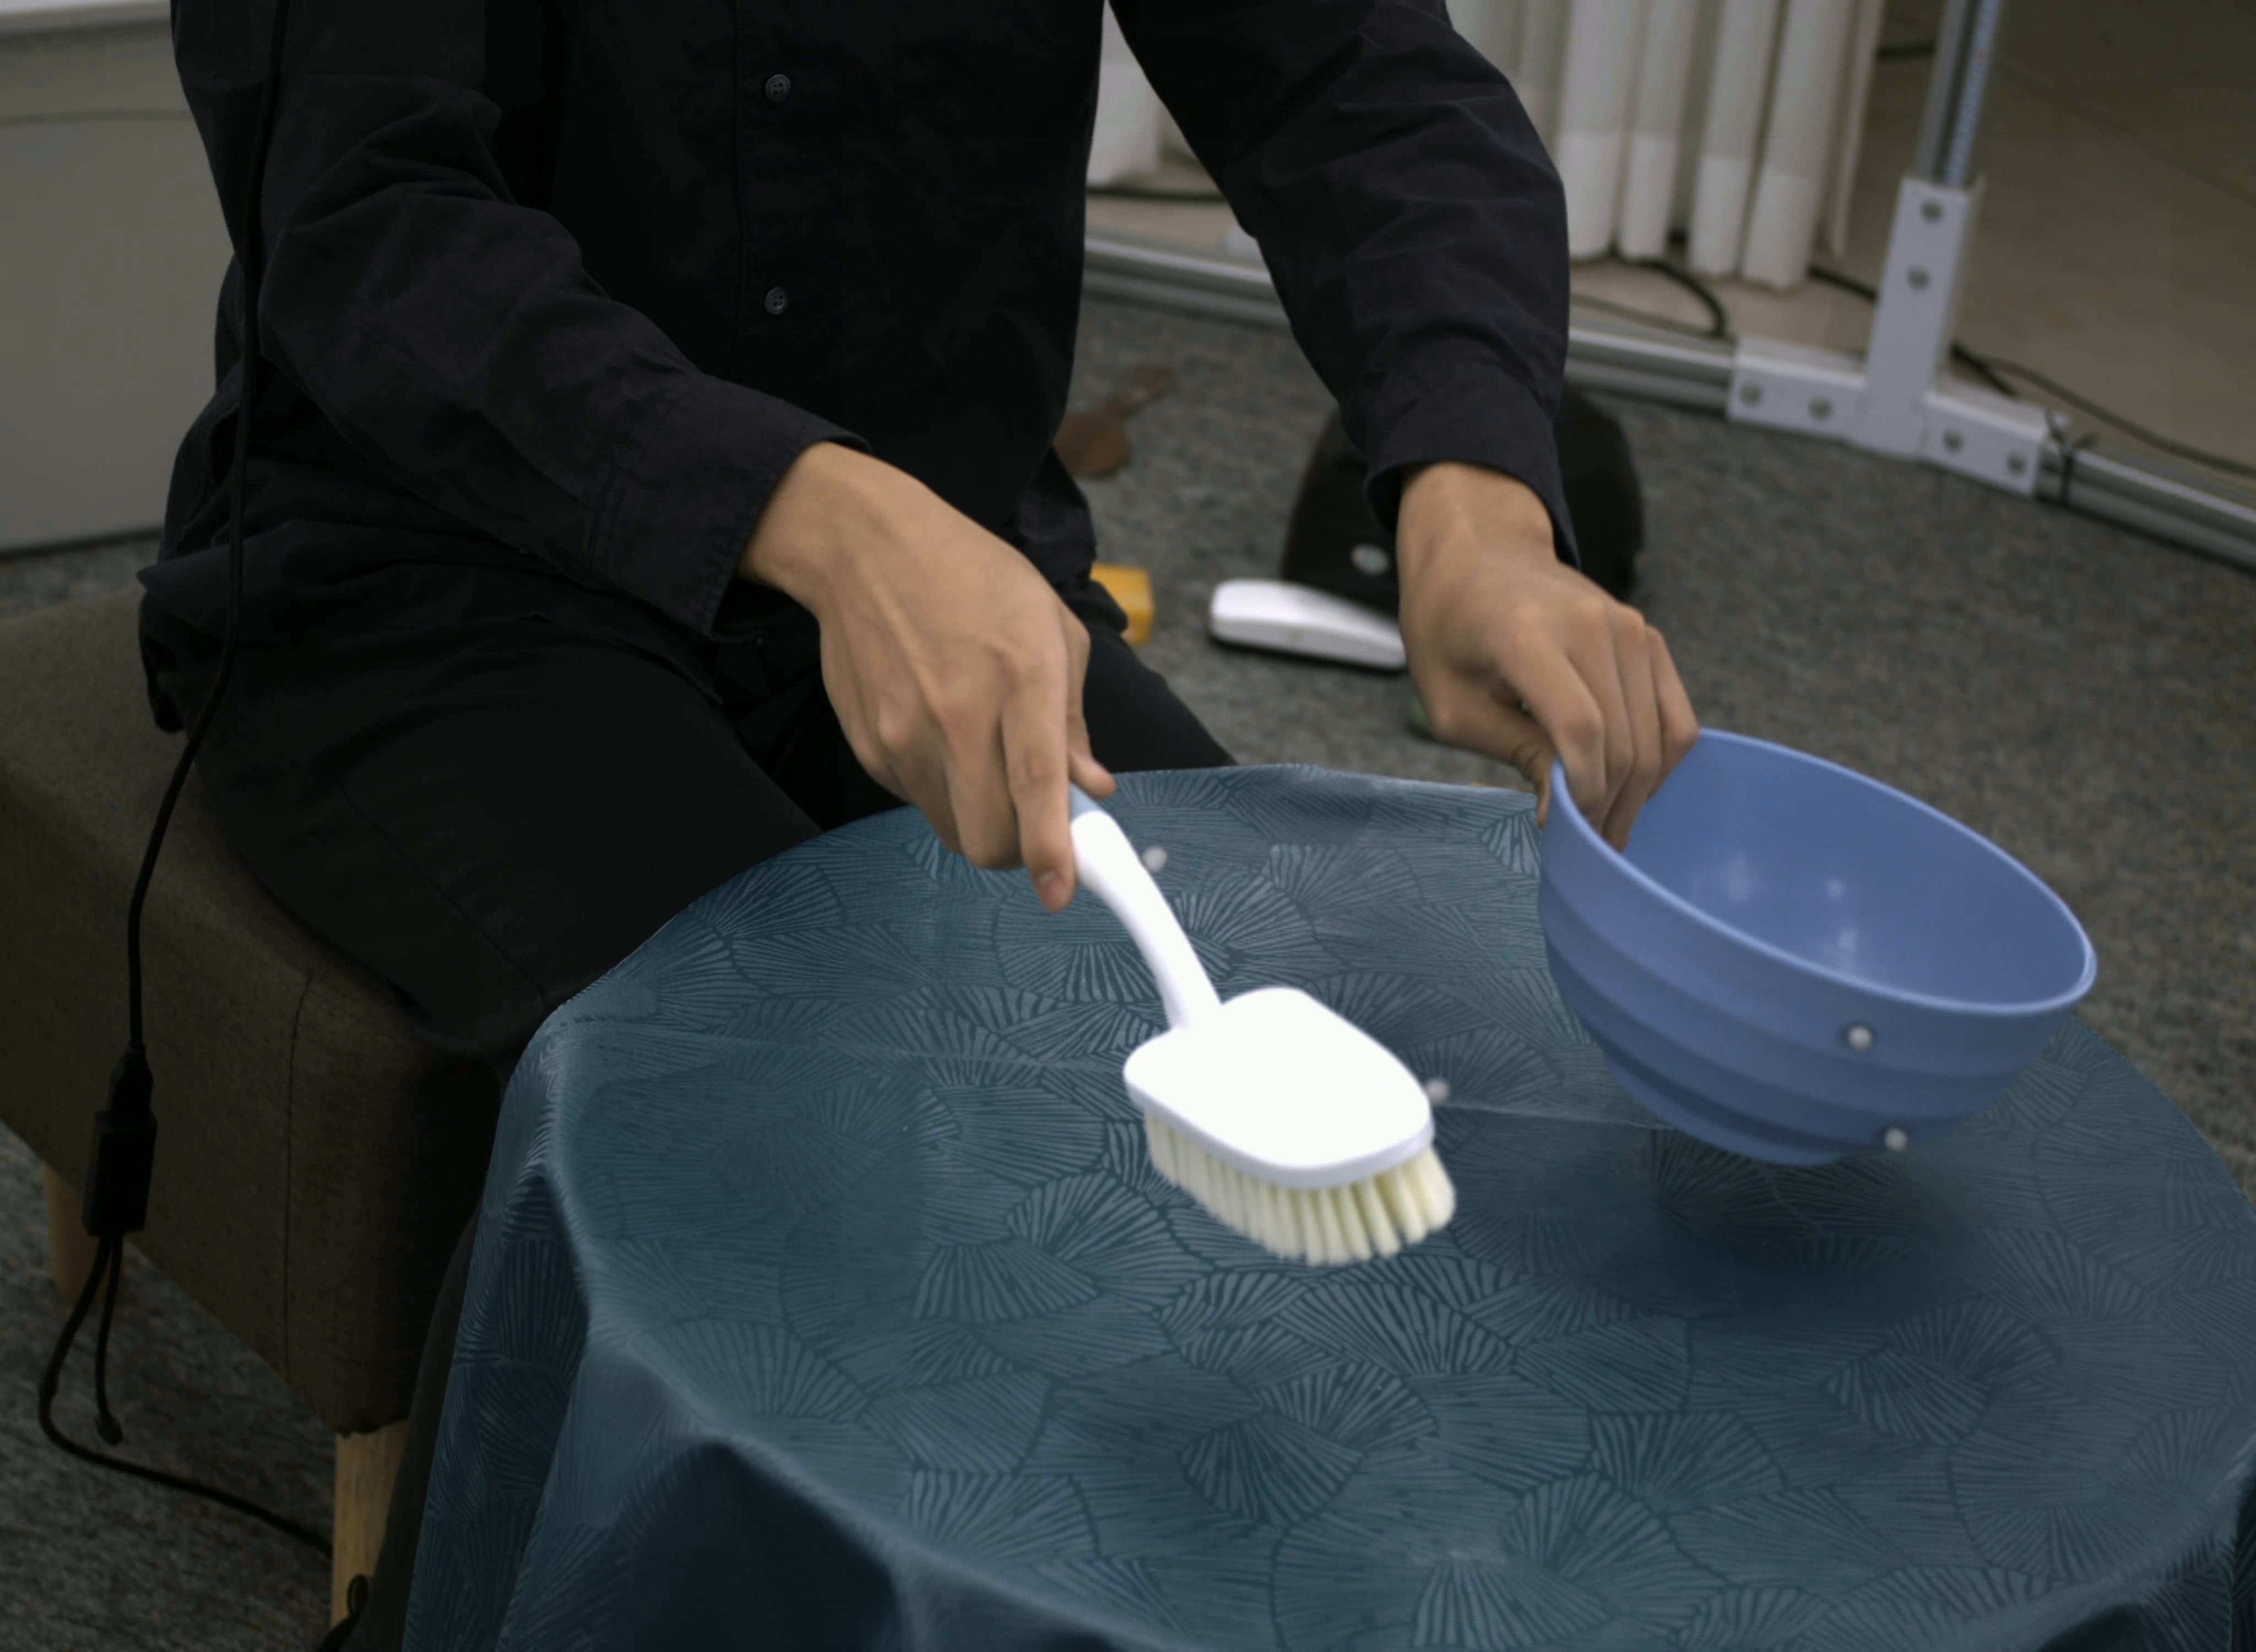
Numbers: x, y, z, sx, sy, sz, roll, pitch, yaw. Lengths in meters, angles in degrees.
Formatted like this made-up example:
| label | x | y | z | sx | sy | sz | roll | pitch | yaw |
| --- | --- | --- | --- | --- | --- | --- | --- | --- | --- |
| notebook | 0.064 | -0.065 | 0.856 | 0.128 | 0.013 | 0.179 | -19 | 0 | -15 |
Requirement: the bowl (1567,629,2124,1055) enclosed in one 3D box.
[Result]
| label | x | y | z | sx | sy | sz | roll | pitch | yaw |
| --- | --- | --- | --- | --- | --- | --- | --- | --- | --- |
| bowl | 0.233 | 0.016 | 1.834 | 0.195 | 0.095 | 0.197 | 16 | 21 | -7 |

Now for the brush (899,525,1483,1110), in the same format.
| label | x | y | z | sx | sy | sz | roll | pitch | yaw |
| --- | --- | --- | --- | --- | --- | --- | --- | --- | --- |
| brush | 0.018 | 0.004 | 1.755 | 0.082 | 0.084 | 0.328 | 11 | 21 | -40 |
